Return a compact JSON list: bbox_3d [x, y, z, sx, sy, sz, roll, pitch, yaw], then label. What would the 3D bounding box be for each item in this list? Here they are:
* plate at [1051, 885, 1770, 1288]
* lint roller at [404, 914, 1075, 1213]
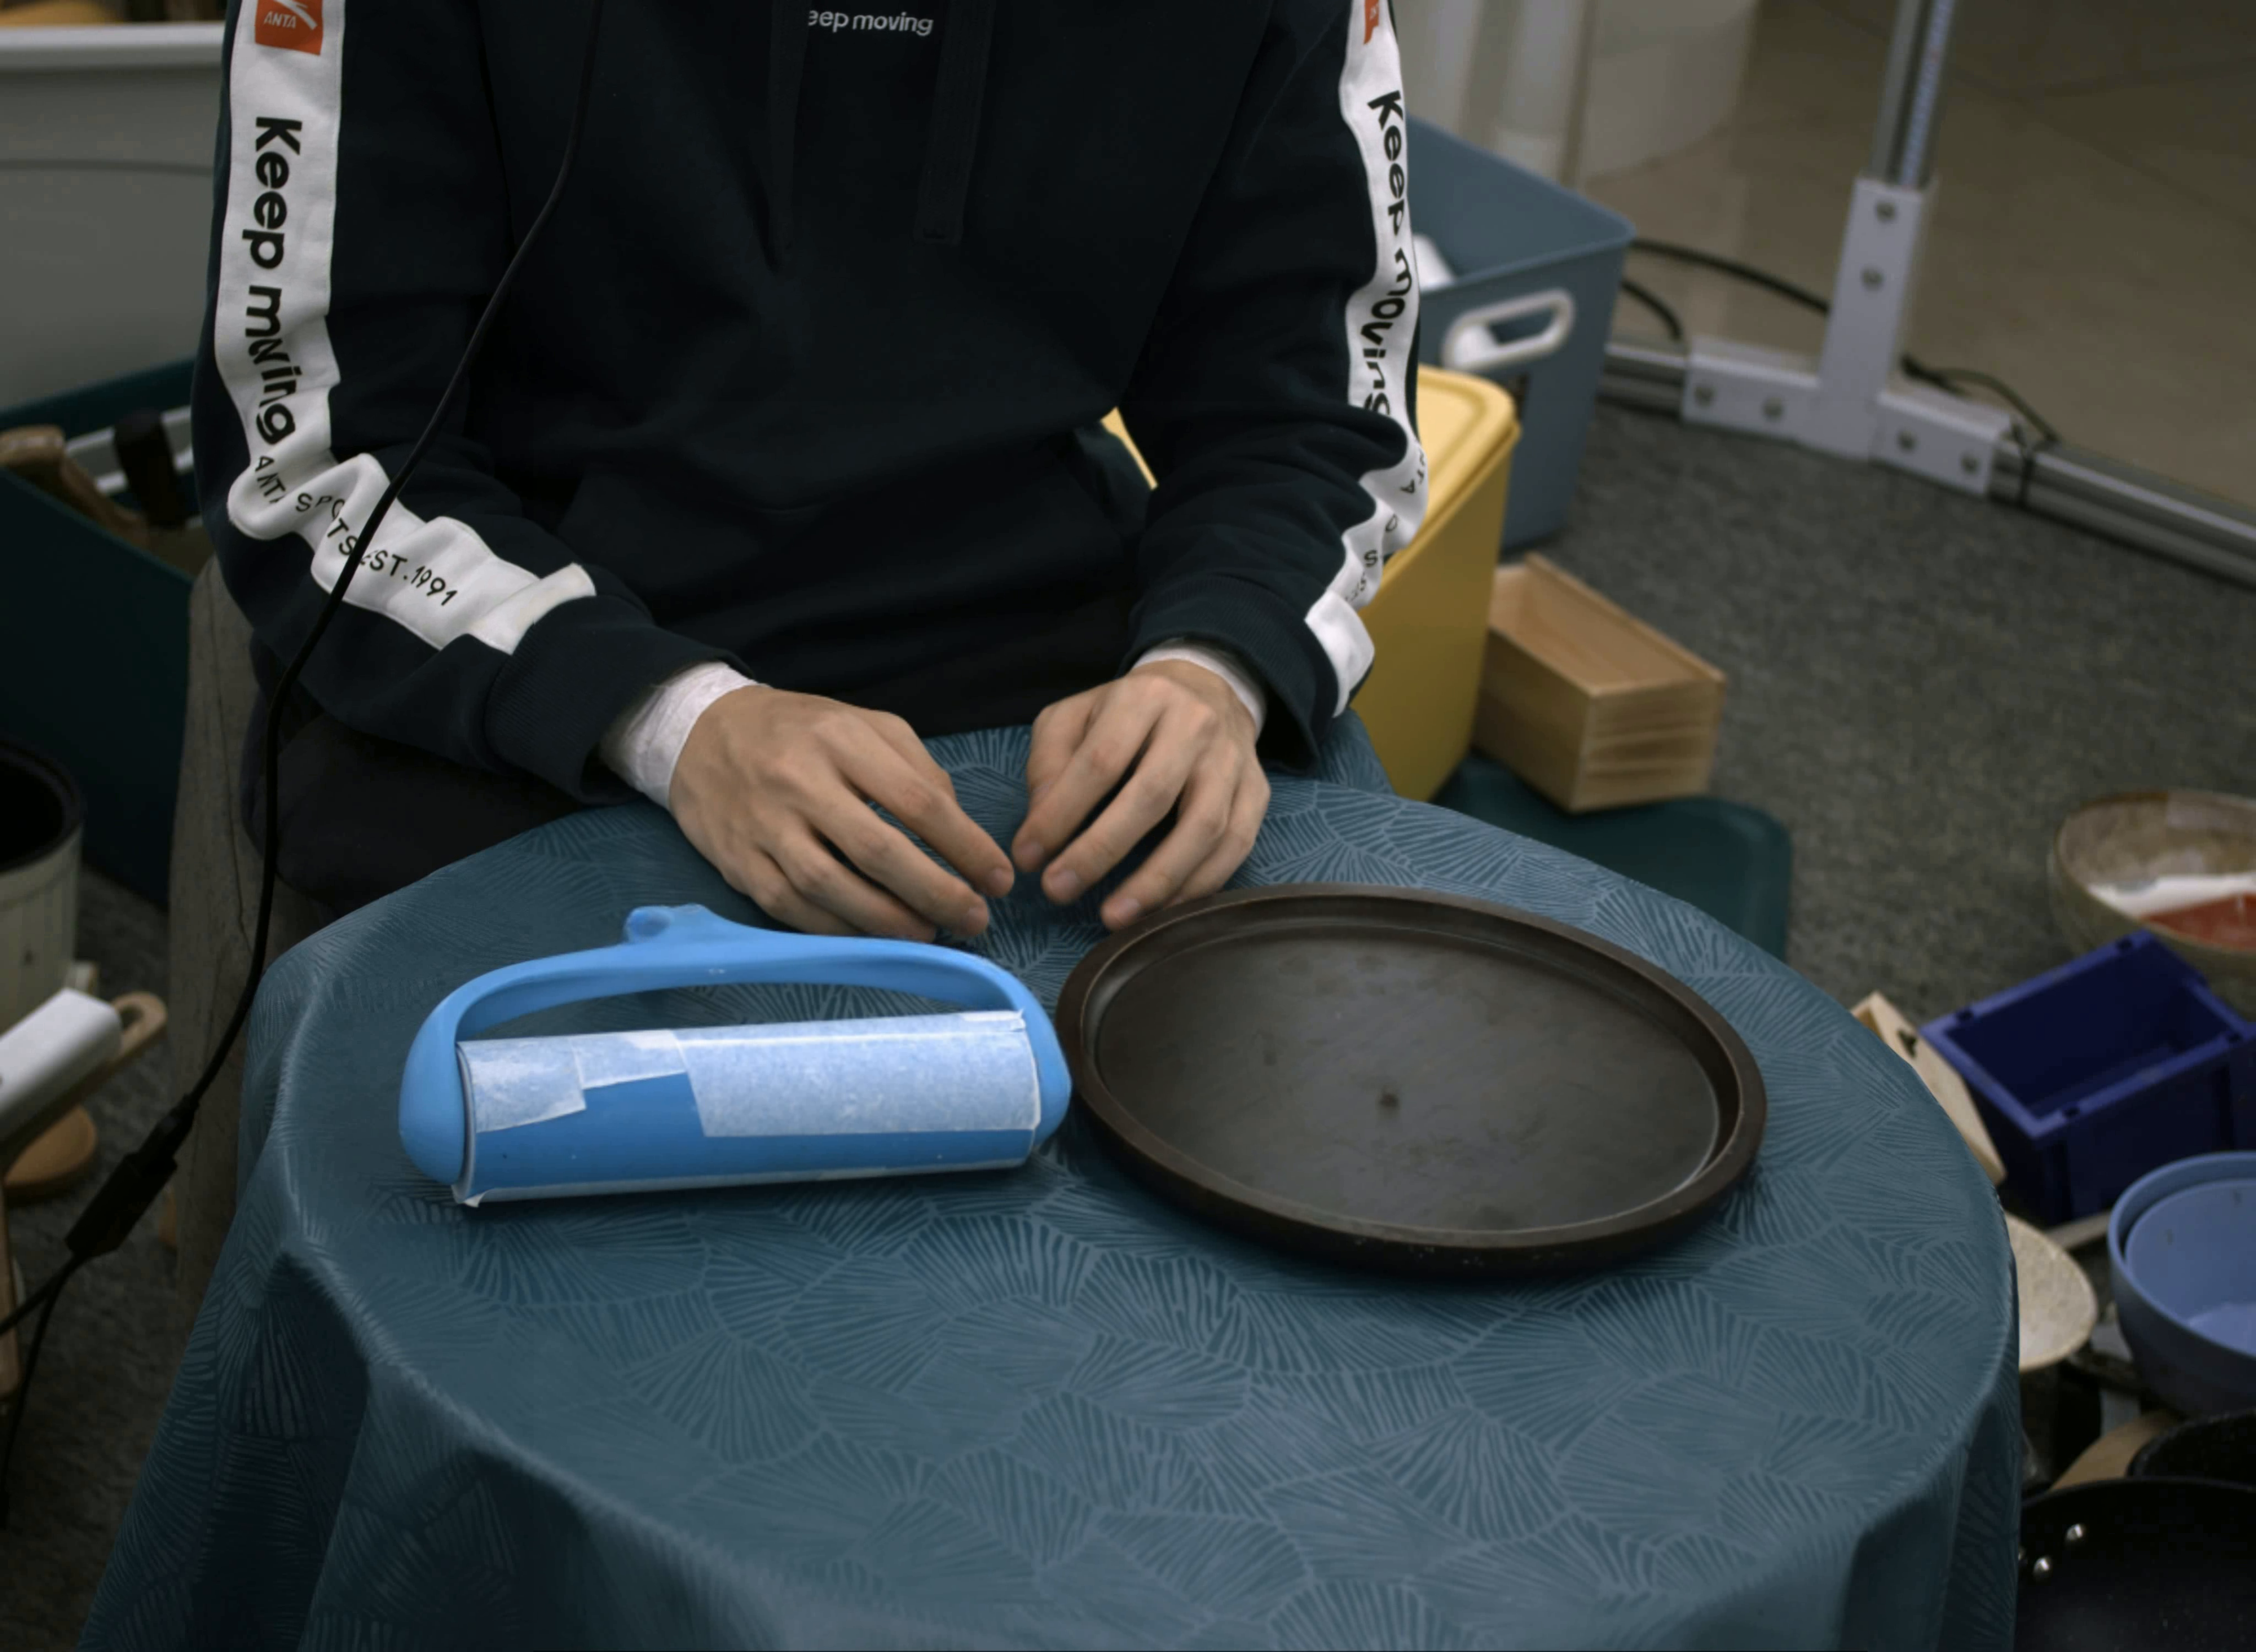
[{"bbox_3d":[0.098,0.090,1.862,0.254,0.029,0.256,5,28,-3],"label":"plate"},{"bbox_3d":[-0.147,0.065,1.818,0.227,0.067,0.182,-6,31,-19],"label":"lint roller"}]
